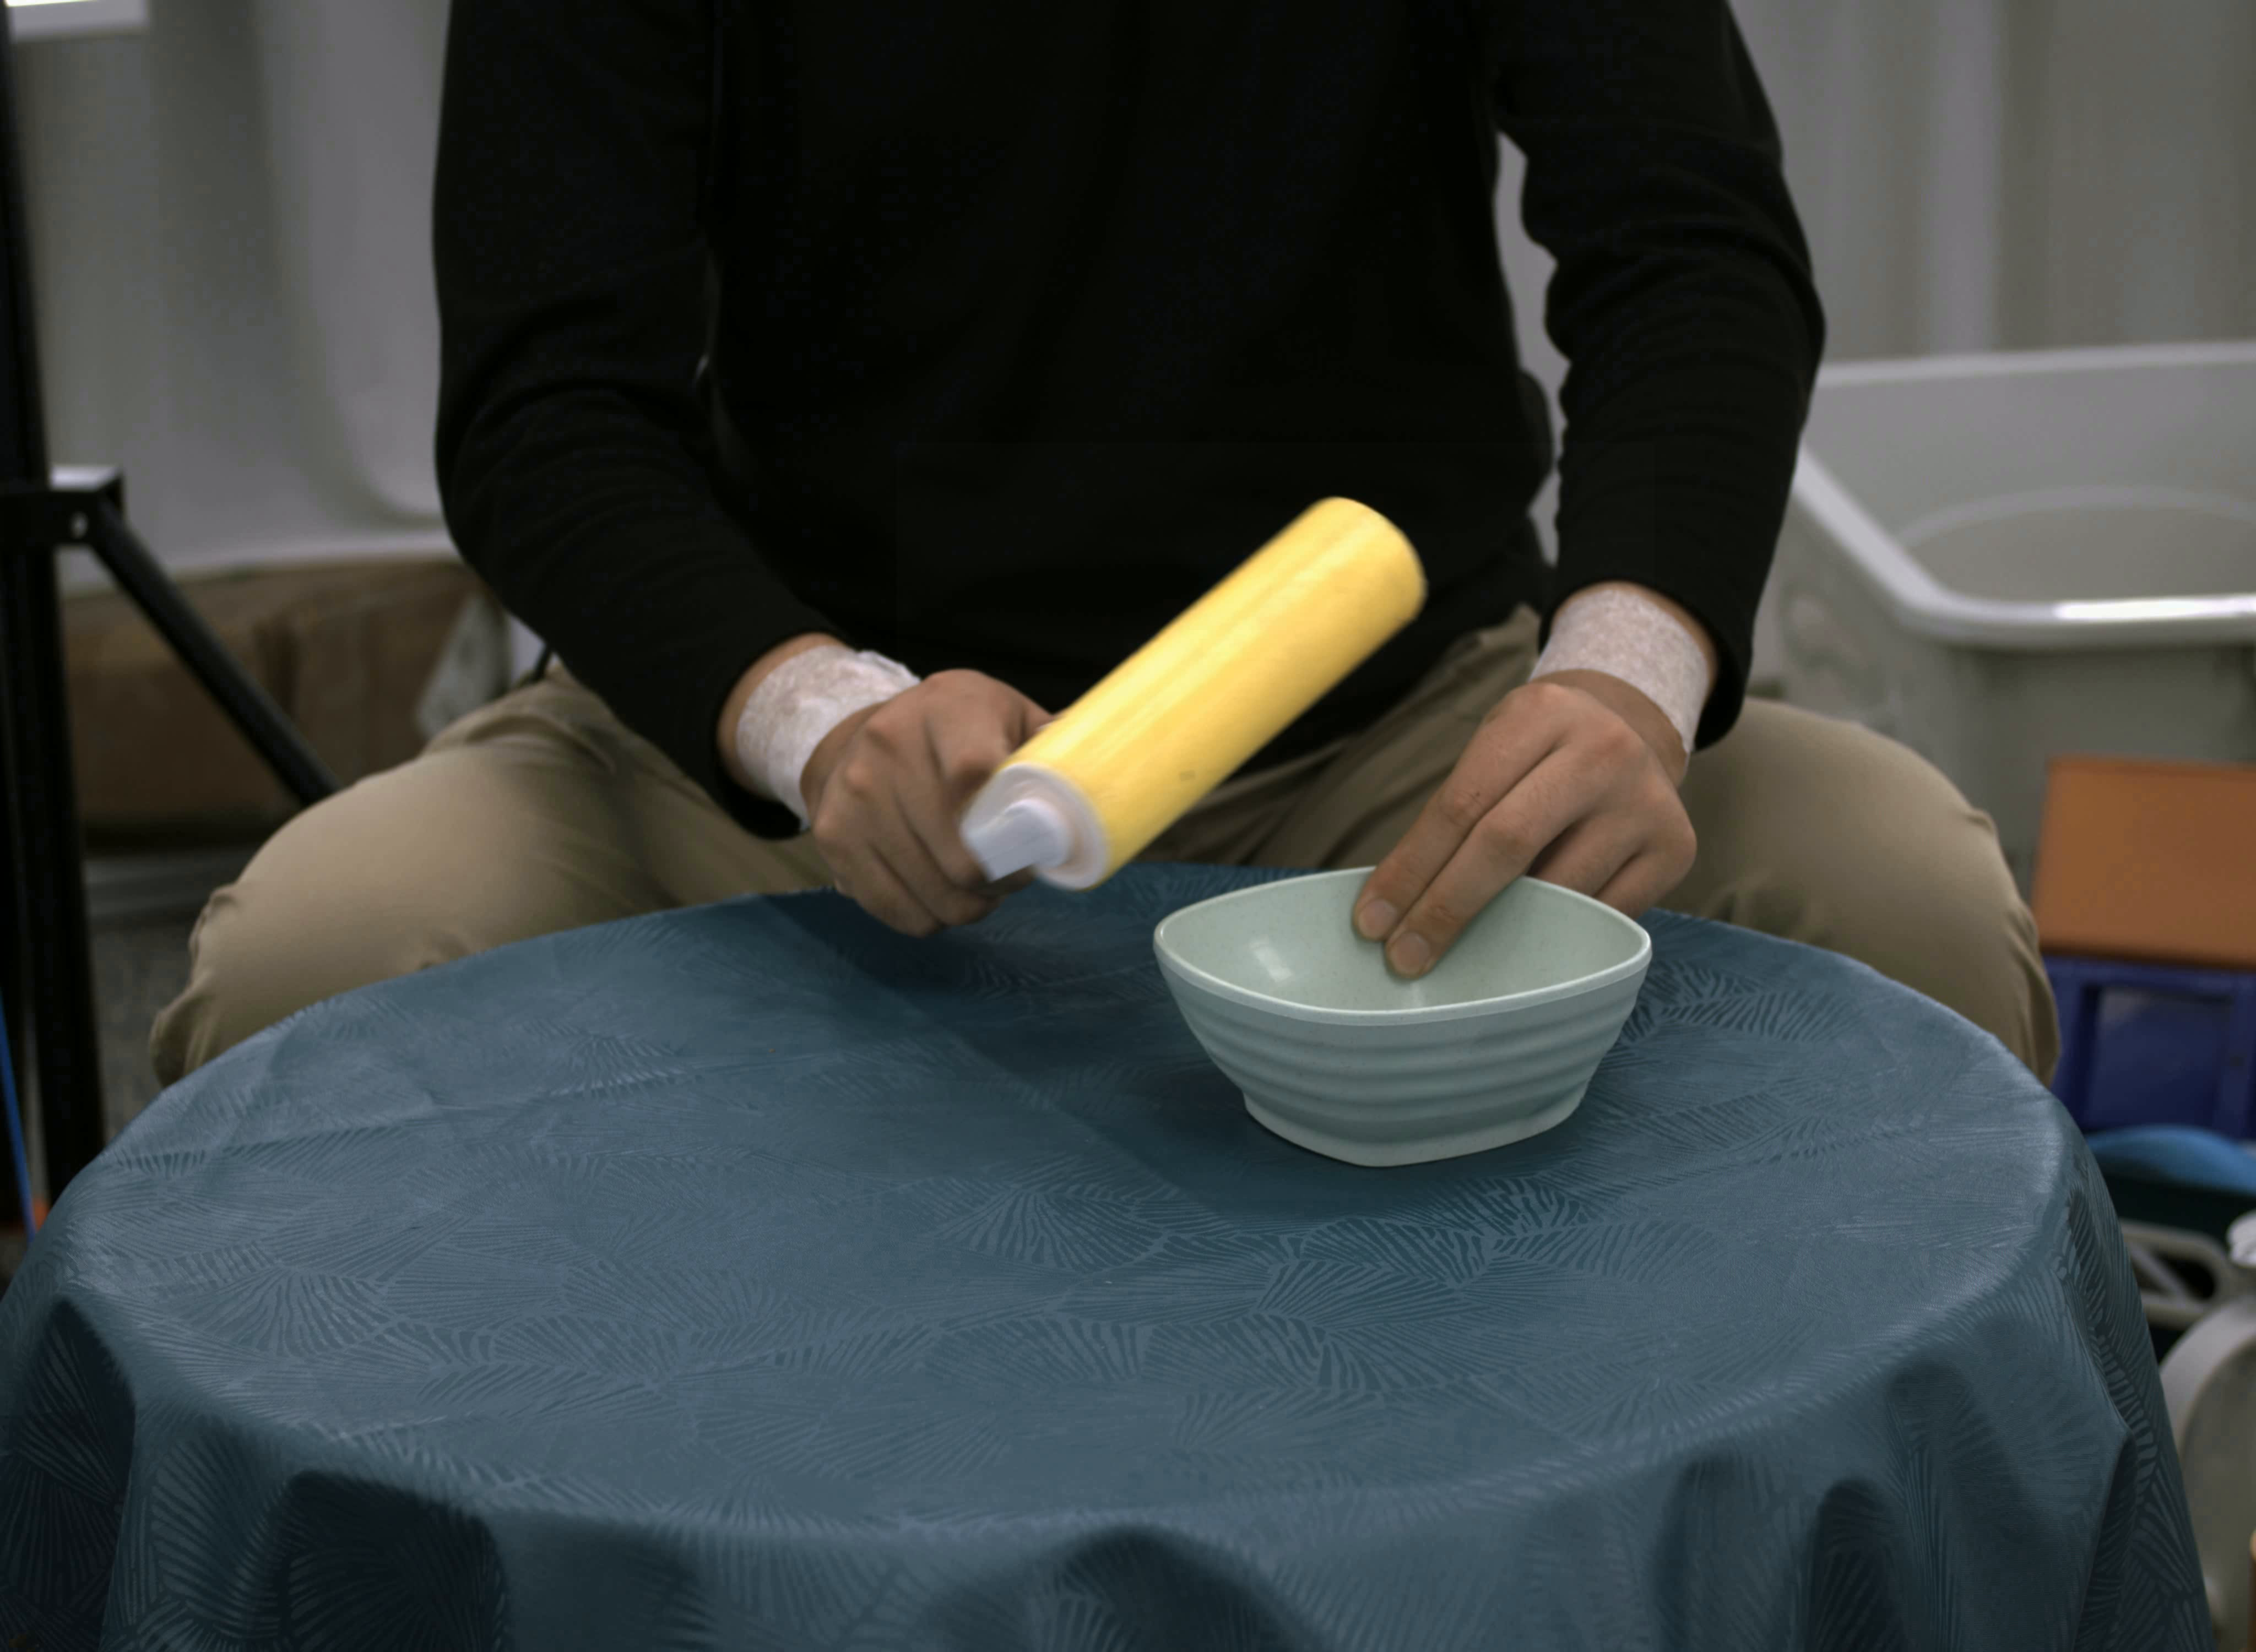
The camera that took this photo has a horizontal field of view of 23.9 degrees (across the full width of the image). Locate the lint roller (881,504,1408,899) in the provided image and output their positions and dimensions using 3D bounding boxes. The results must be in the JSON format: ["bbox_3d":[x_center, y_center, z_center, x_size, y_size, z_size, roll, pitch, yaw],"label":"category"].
[{"bbox_3d":[-0.024,-0.029,1.690,0.196,0.051,0.172,-10,25,50],"label":"lint roller"}]

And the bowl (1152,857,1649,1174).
[{"bbox_3d":[0.082,0.061,1.605,0.150,0.058,0.152,-2,18,-1],"label":"bowl"}]
